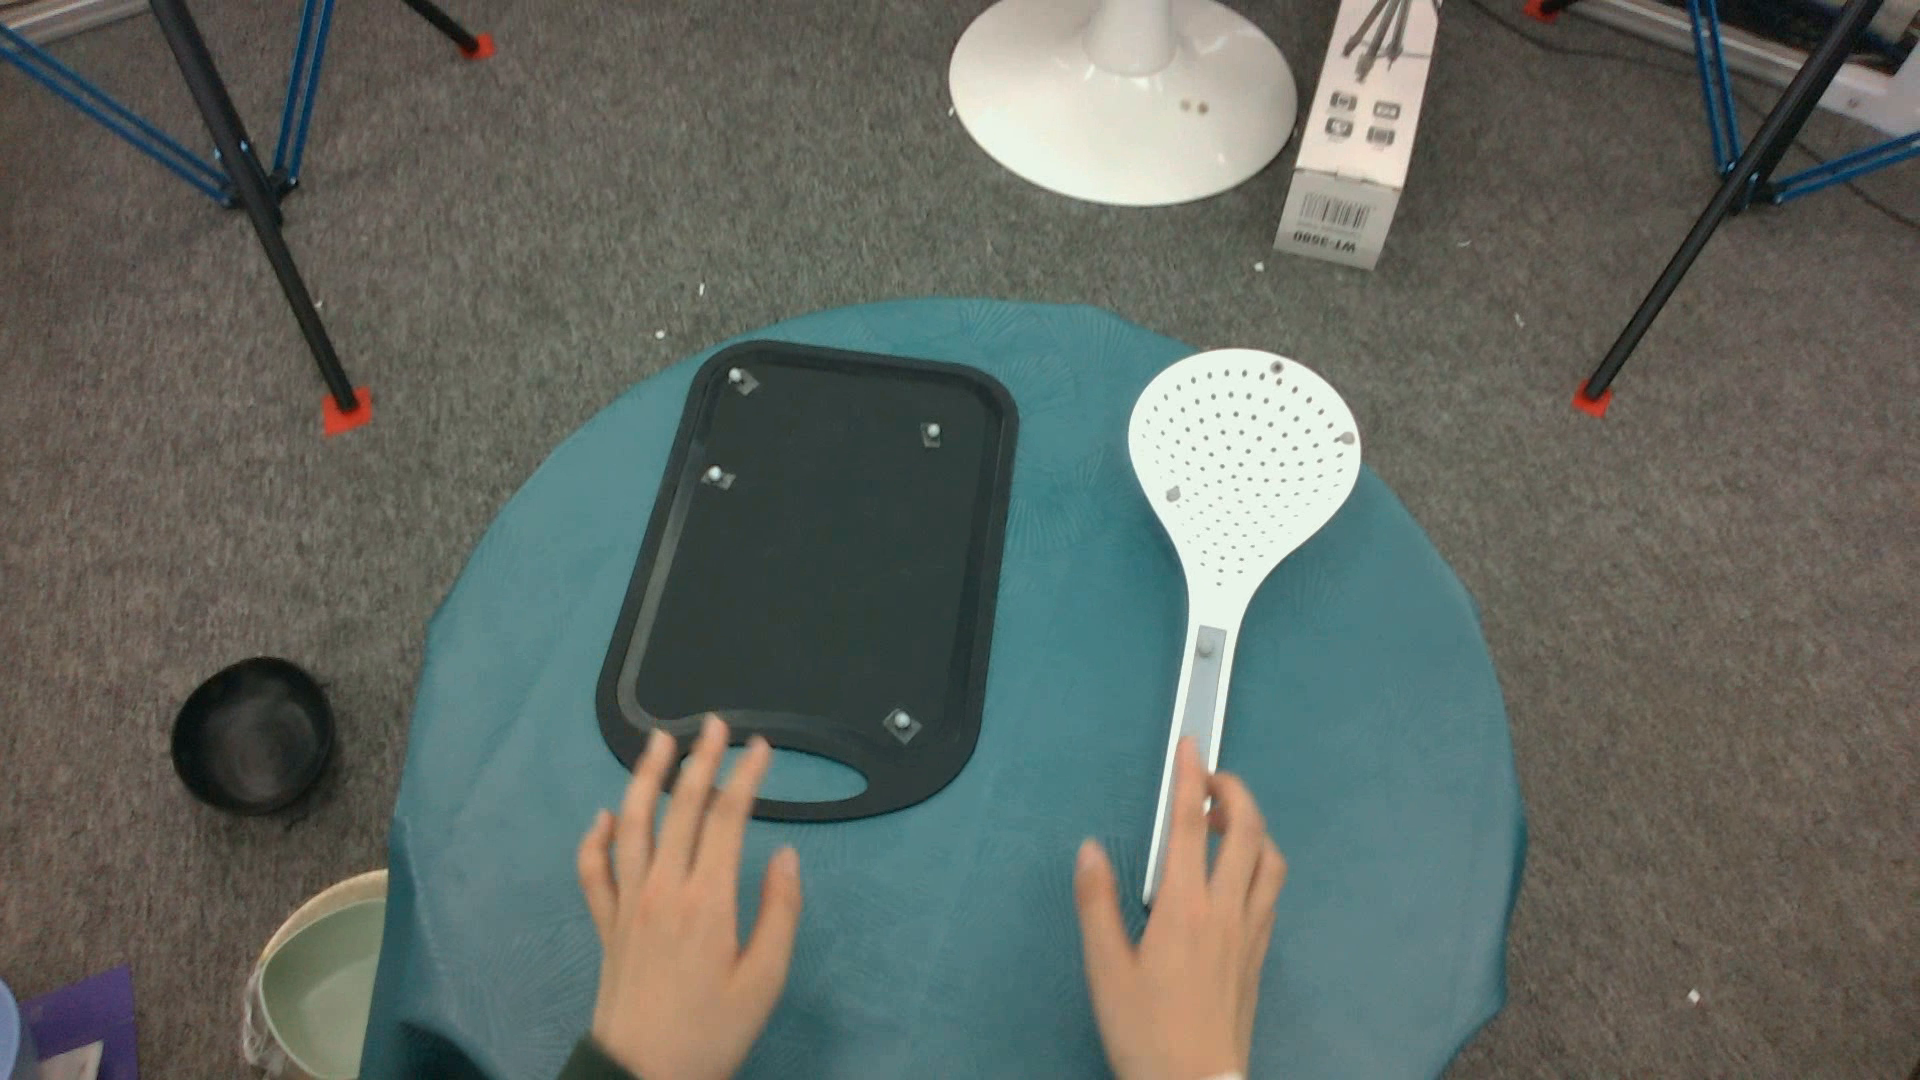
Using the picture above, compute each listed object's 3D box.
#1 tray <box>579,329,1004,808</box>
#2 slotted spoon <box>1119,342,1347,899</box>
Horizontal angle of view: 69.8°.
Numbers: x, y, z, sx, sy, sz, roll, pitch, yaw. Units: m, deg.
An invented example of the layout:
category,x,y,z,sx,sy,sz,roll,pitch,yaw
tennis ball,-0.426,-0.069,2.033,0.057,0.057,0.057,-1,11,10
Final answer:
category,x,y,z,sx,sy,sz,roll,pitch,yaw
tray,-0.090,0.003,0.800,0.211,0.010,0.327,8,55,1
slotted spoon,0.137,0.031,0.774,0.136,0.045,0.351,11,56,8
